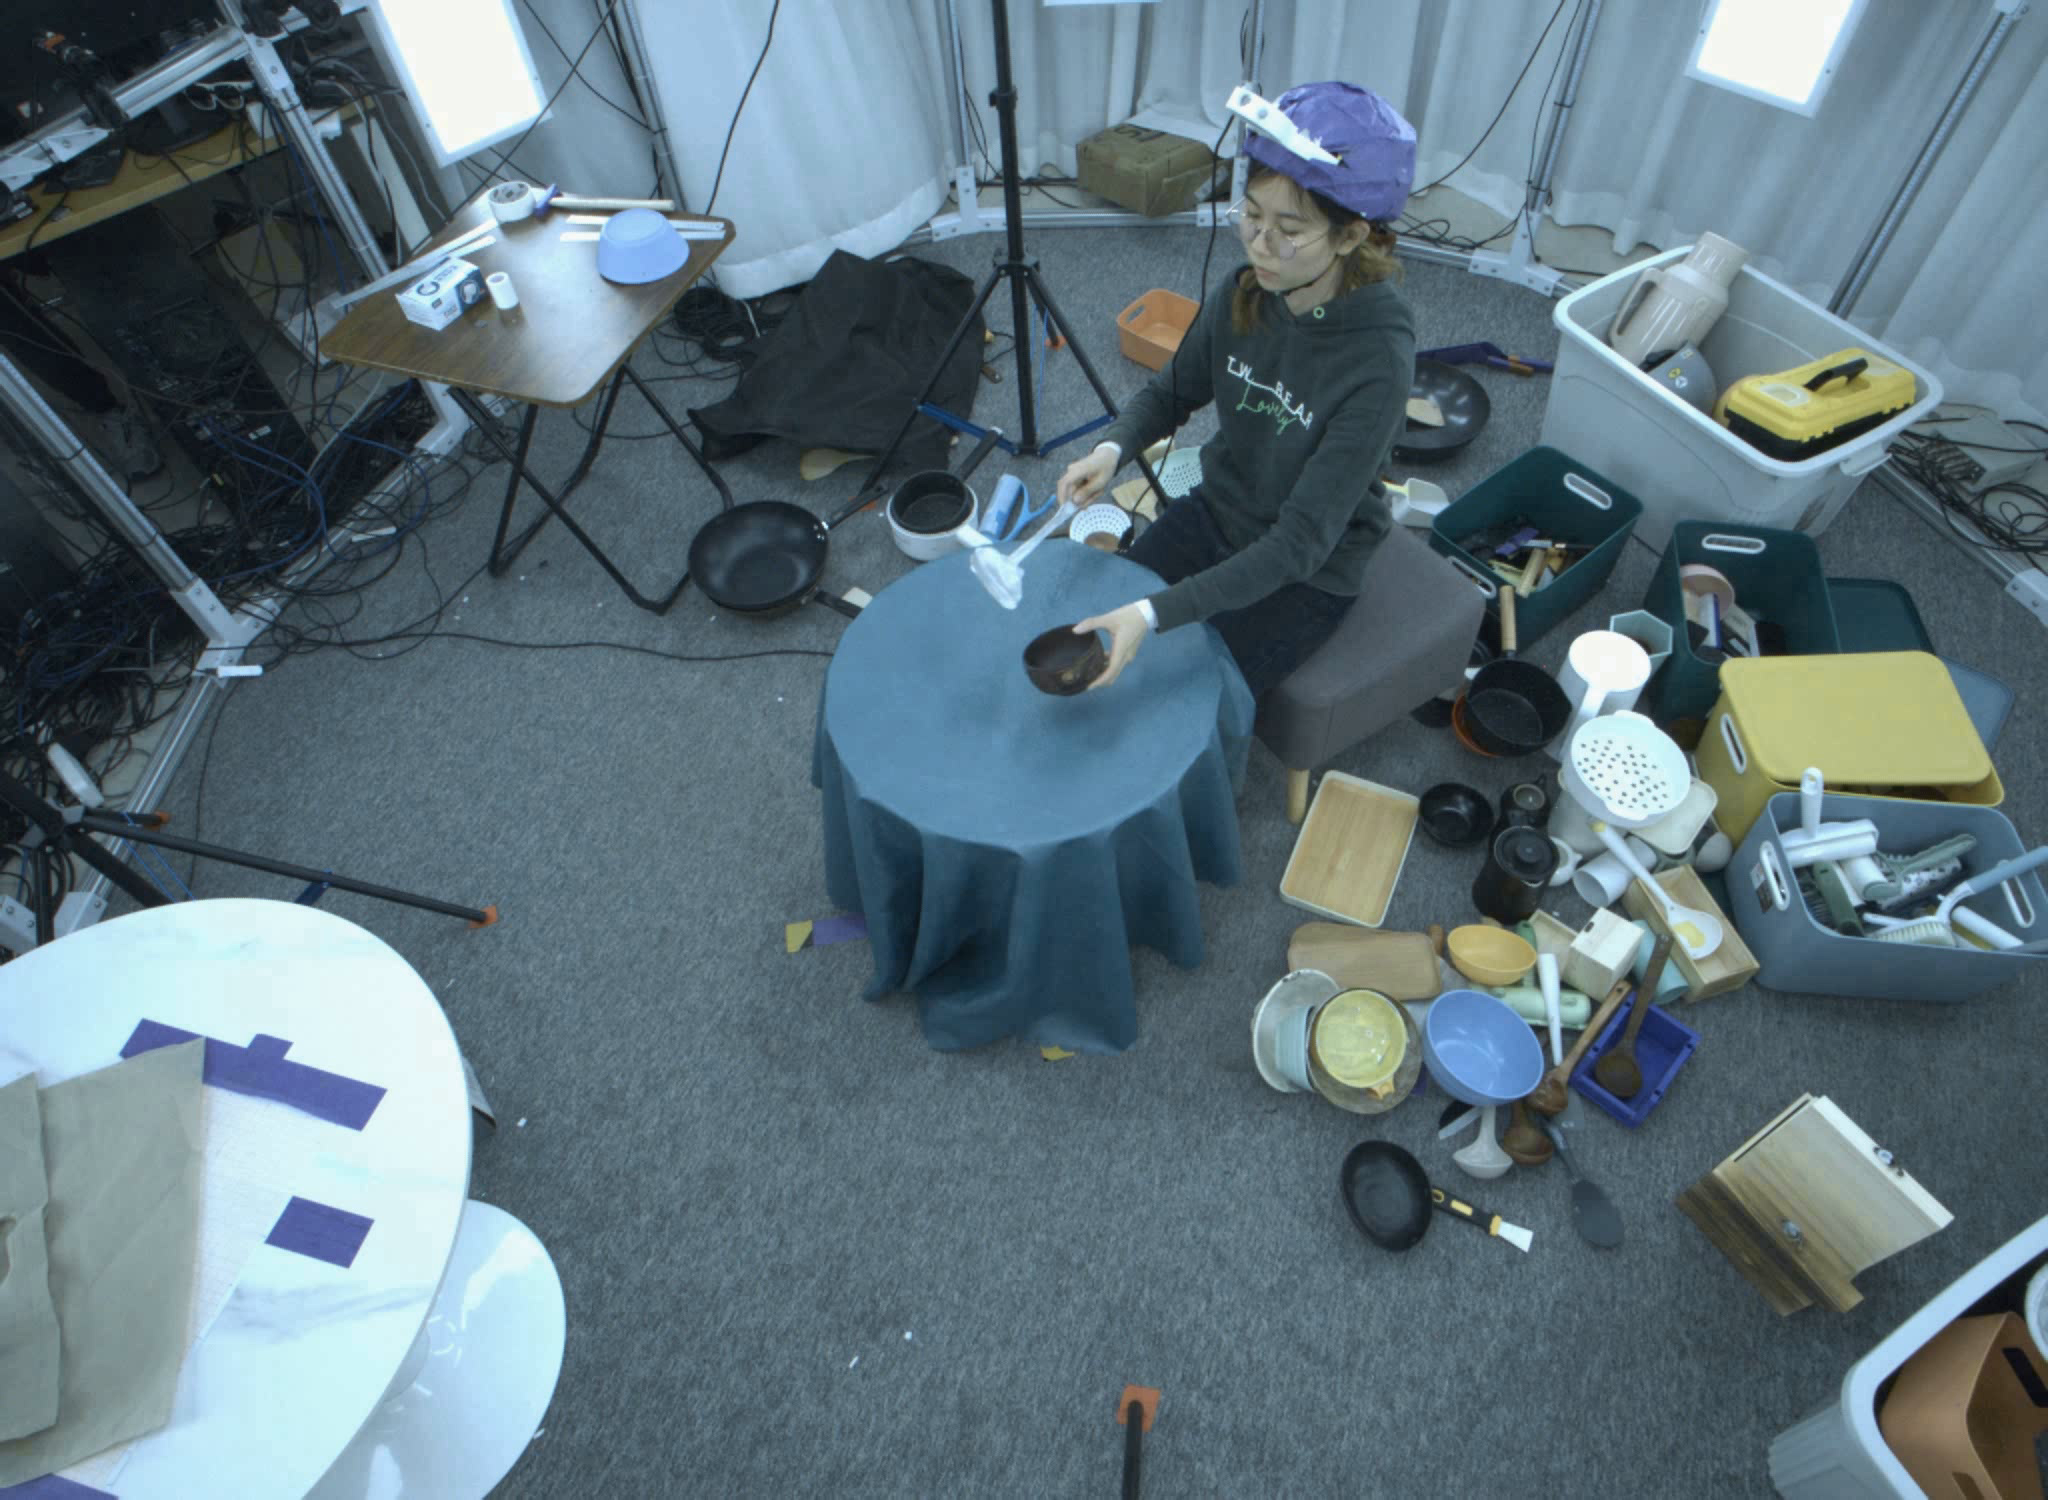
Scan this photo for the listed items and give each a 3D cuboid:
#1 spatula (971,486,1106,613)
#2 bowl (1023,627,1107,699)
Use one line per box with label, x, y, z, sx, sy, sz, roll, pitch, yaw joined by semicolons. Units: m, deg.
spatula;0.037;-0.324;1.848;0.099;0.044;0.367;51;53;-11
bowl;0.063;-0.116;1.763;0.117;0.071;0.117;-12;36;10
